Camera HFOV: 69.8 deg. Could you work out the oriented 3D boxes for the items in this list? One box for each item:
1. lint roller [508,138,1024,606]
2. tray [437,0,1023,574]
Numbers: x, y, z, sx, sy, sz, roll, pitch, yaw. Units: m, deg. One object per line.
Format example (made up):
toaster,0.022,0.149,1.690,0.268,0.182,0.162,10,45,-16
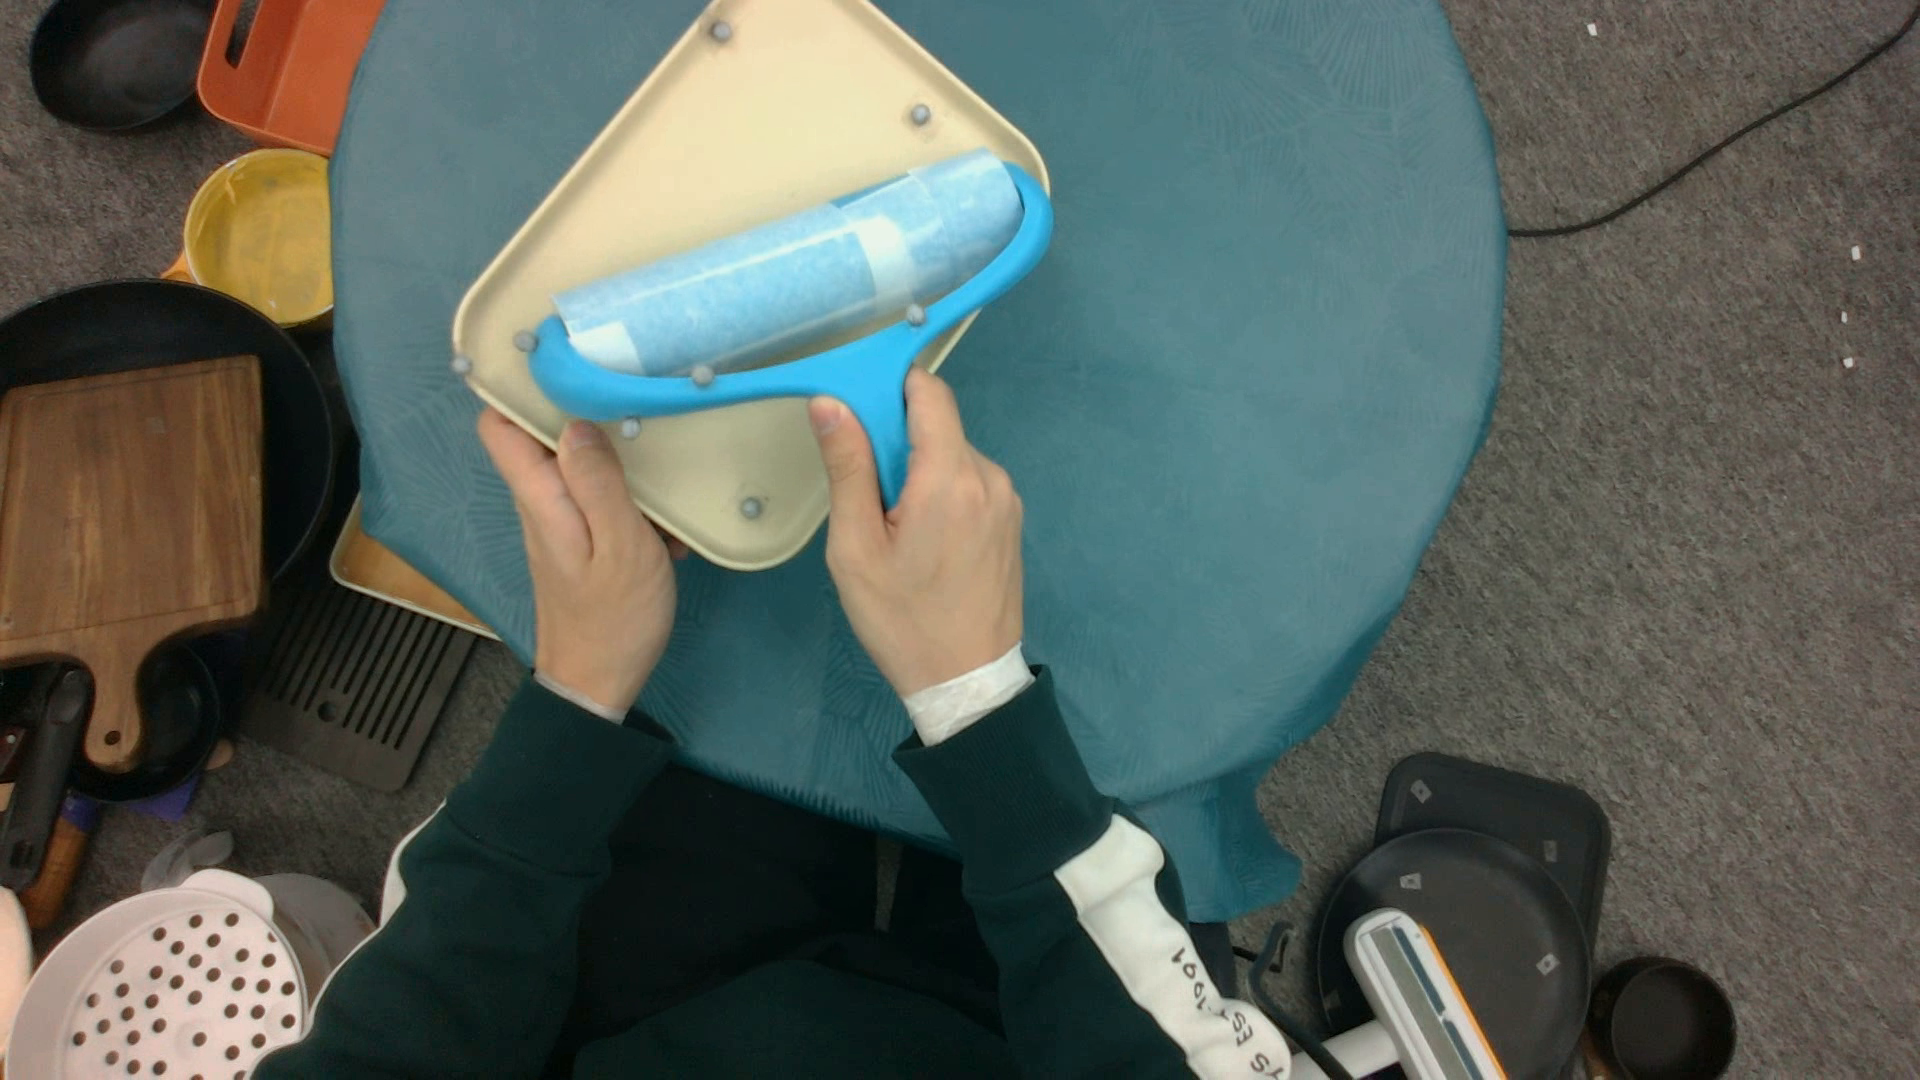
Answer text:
lint roller,-0.047,-0.061,0.566,0.229,0.067,0.180,-28,79,-18
tray,-0.092,-0.119,0.595,0.171,0.017,0.240,36,78,-12
